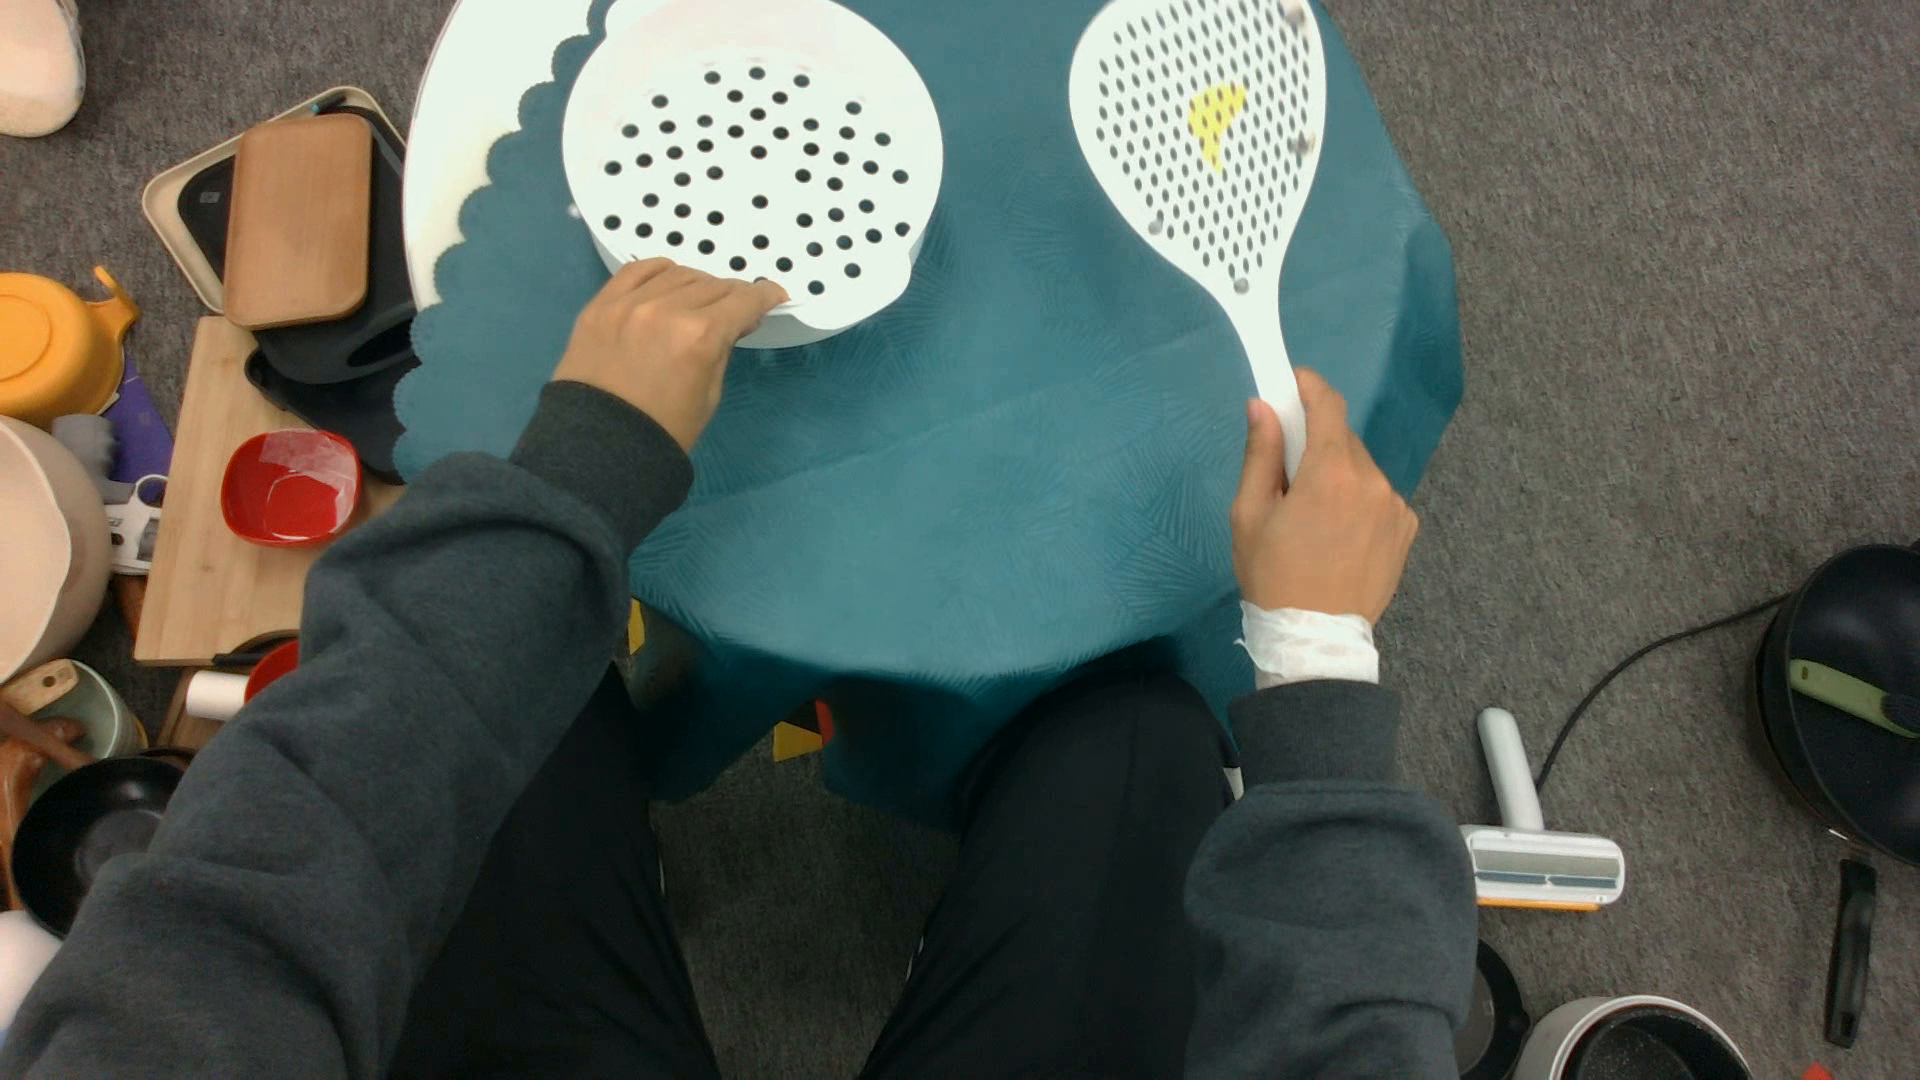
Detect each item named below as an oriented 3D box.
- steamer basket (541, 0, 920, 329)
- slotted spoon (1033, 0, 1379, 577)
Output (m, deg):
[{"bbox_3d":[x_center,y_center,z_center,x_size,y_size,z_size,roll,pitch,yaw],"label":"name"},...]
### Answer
[{"bbox_3d":[-0.125,-0.215,0.766,0.202,0.069,0.231,-32,78,-15],"label":"steamer basket"},{"bbox_3d":[0.143,-0.143,0.710,0.136,0.050,0.348,-19,86,27],"label":"slotted spoon"}]
